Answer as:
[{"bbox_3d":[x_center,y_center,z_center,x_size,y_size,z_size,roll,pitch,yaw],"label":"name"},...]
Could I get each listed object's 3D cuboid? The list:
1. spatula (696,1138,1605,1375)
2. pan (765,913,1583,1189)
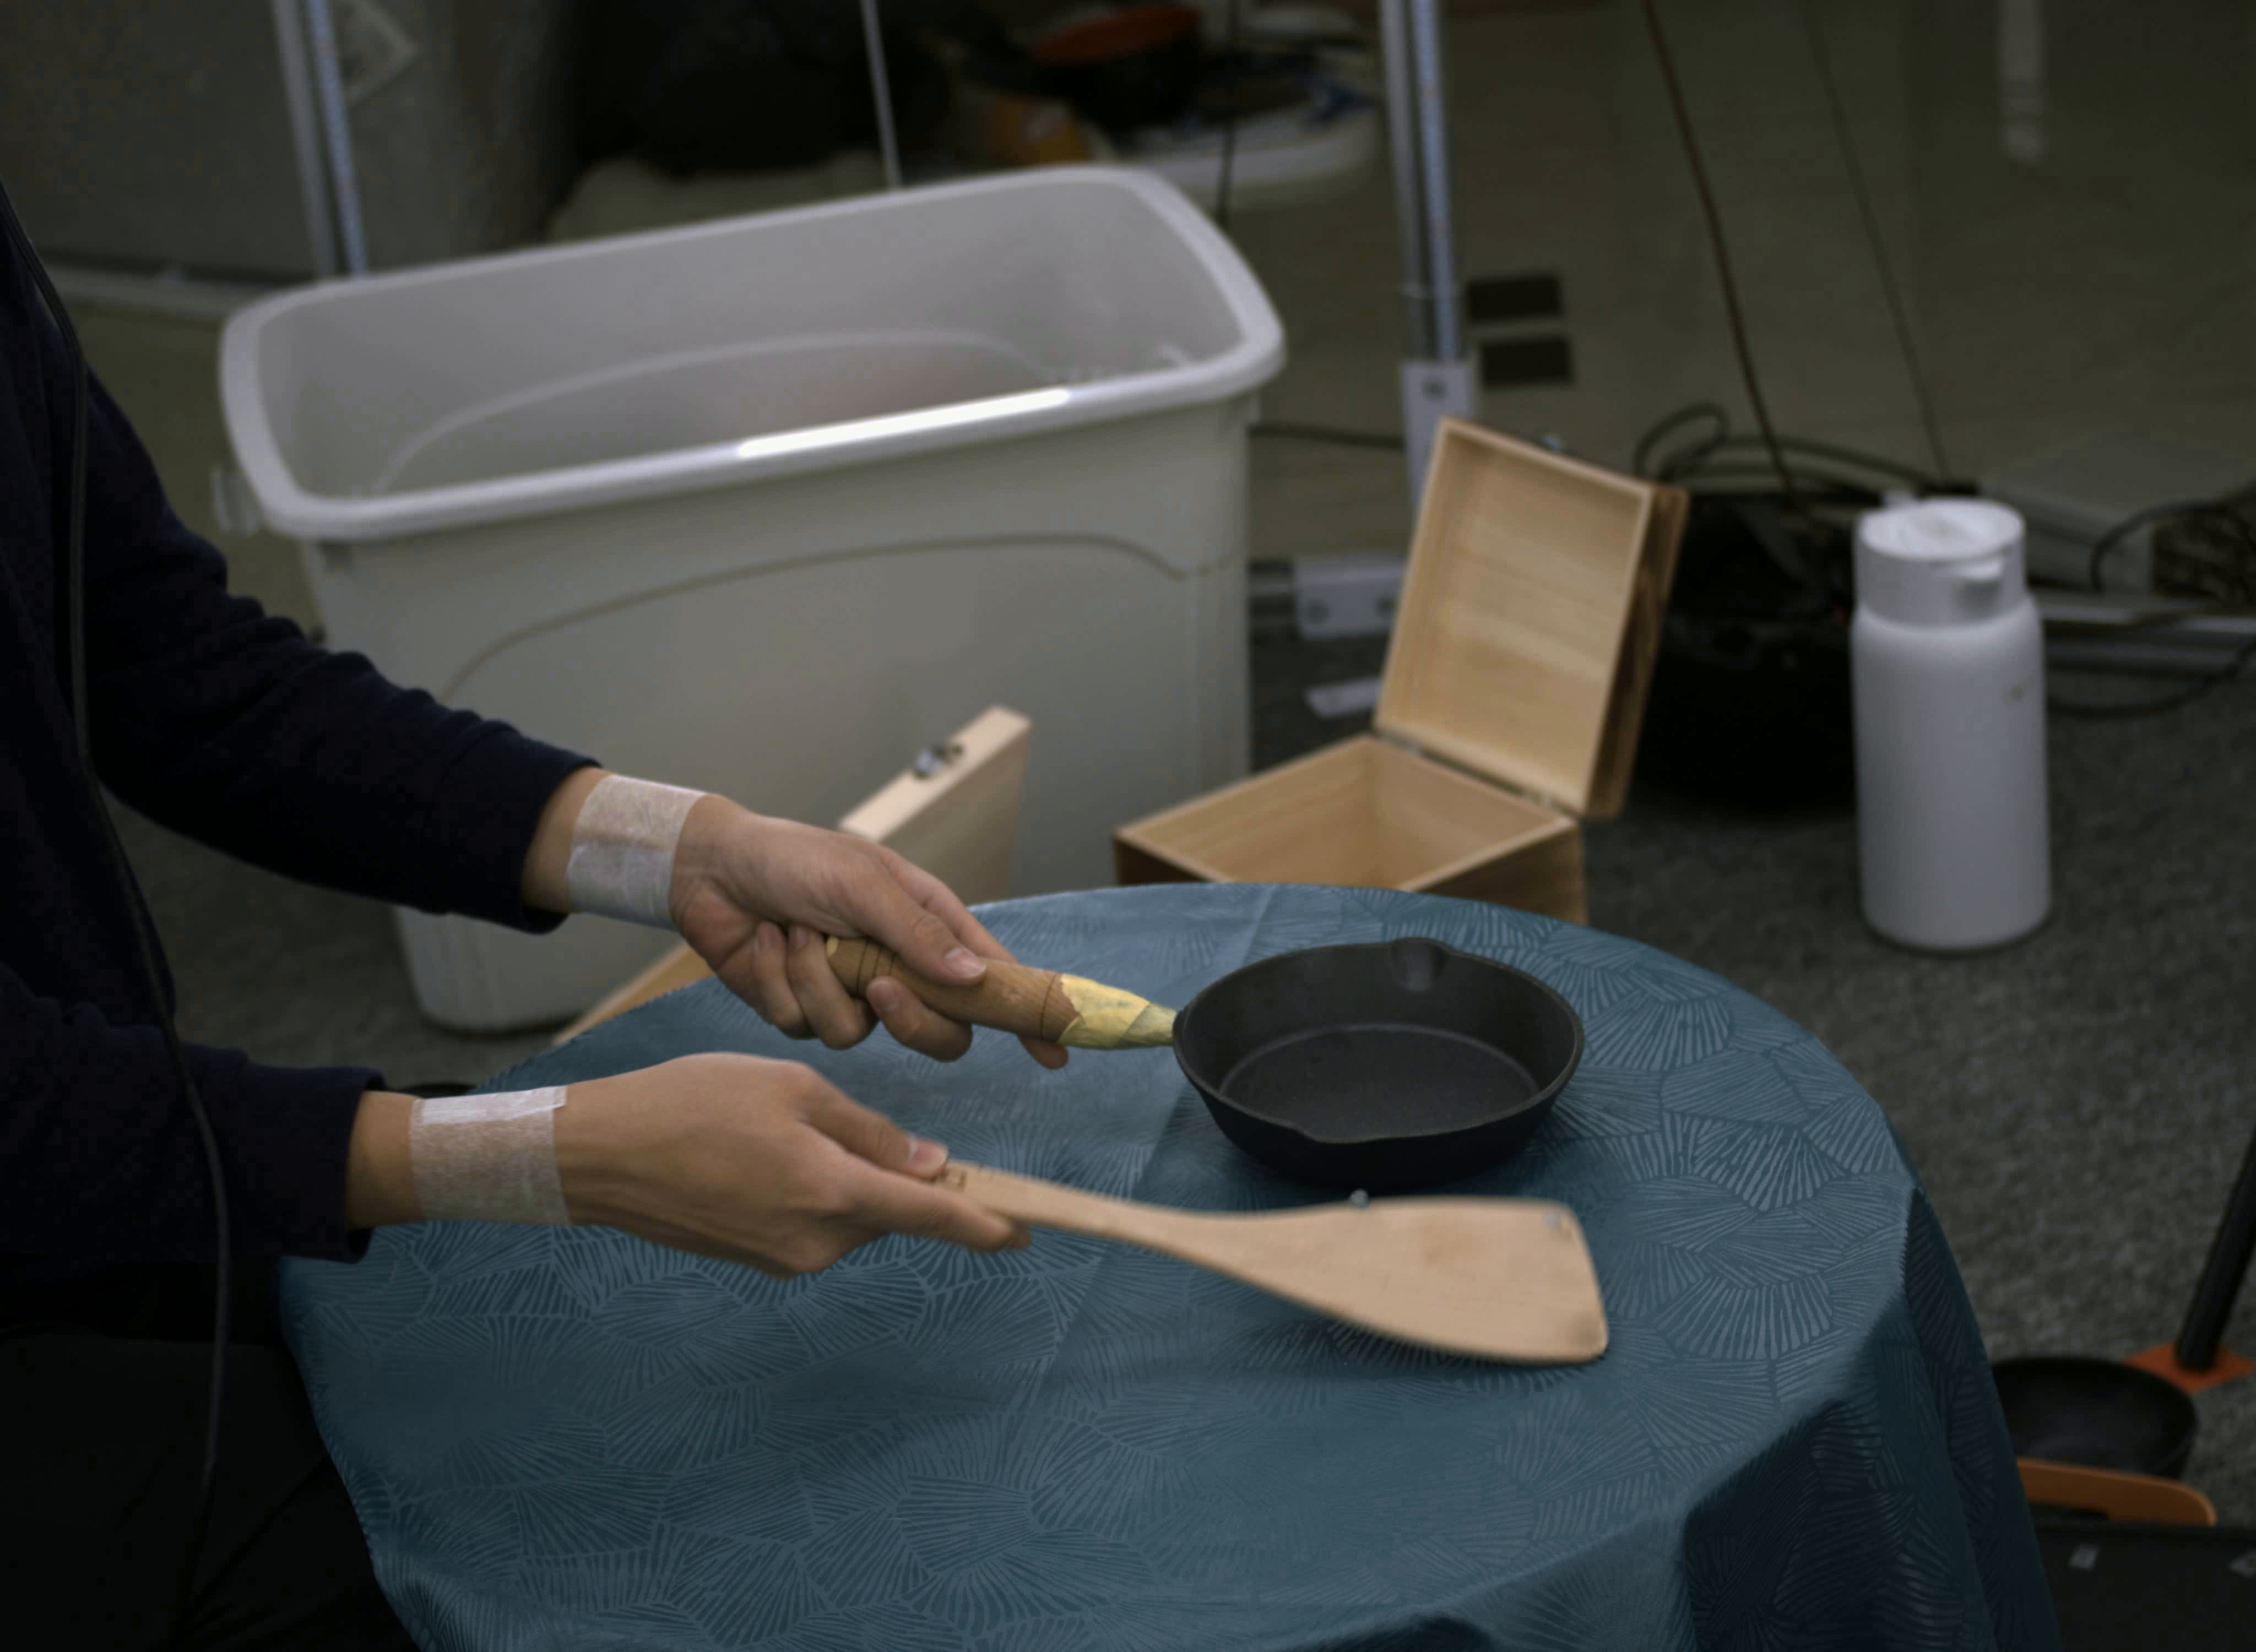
[{"bbox_3d":[0.008,0.145,2.017,0.327,0.017,0.078,11,35,-3],"label":"spatula"},{"bbox_3d":[0.015,0.077,2.187,0.323,0.050,0.166,8,28,15],"label":"pan"}]
